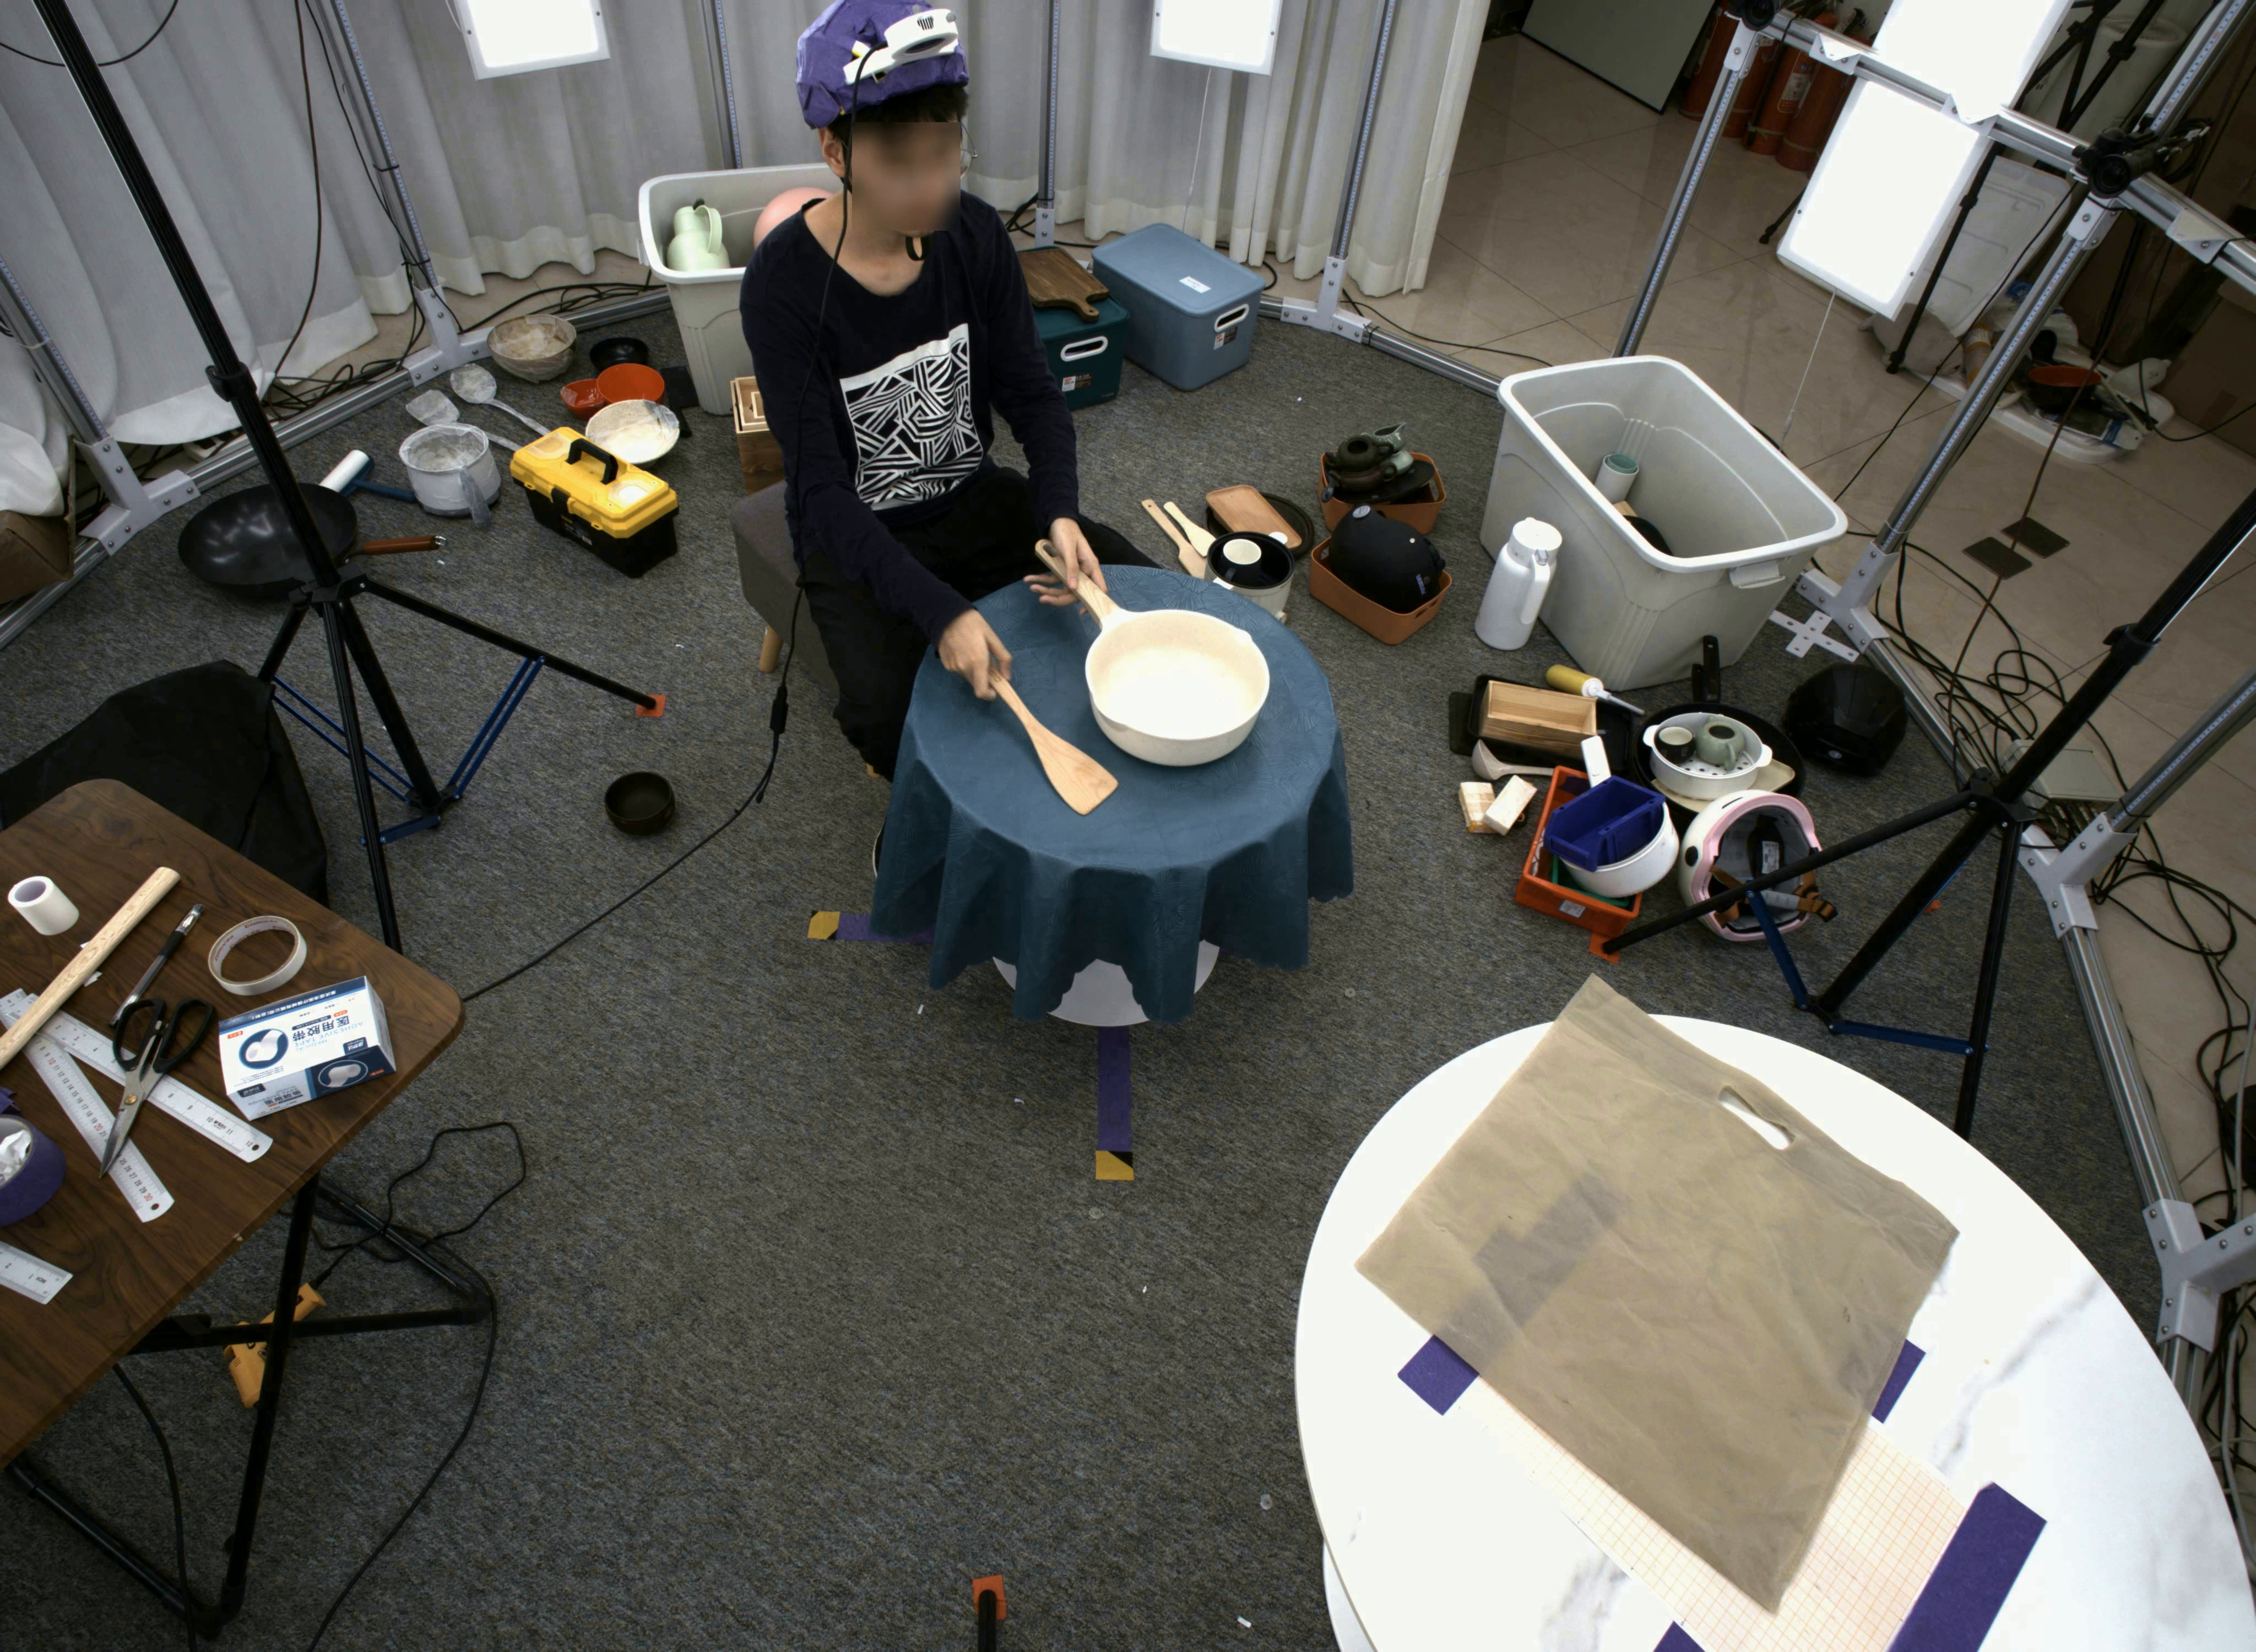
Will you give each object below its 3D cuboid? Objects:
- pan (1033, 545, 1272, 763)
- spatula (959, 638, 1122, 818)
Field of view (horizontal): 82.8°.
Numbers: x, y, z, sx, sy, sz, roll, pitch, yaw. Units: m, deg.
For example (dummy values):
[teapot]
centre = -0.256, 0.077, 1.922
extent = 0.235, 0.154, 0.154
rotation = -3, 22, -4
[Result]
[pan]
centre = 0.010, -0.248, 1.815
extent = 0.265, 0.099, 0.442
rotation = -31, 57, -26
[spatula]
centre = -0.129, -0.143, 1.739
extent = 0.080, 0.016, 0.332
rotation = -30, 68, -27
